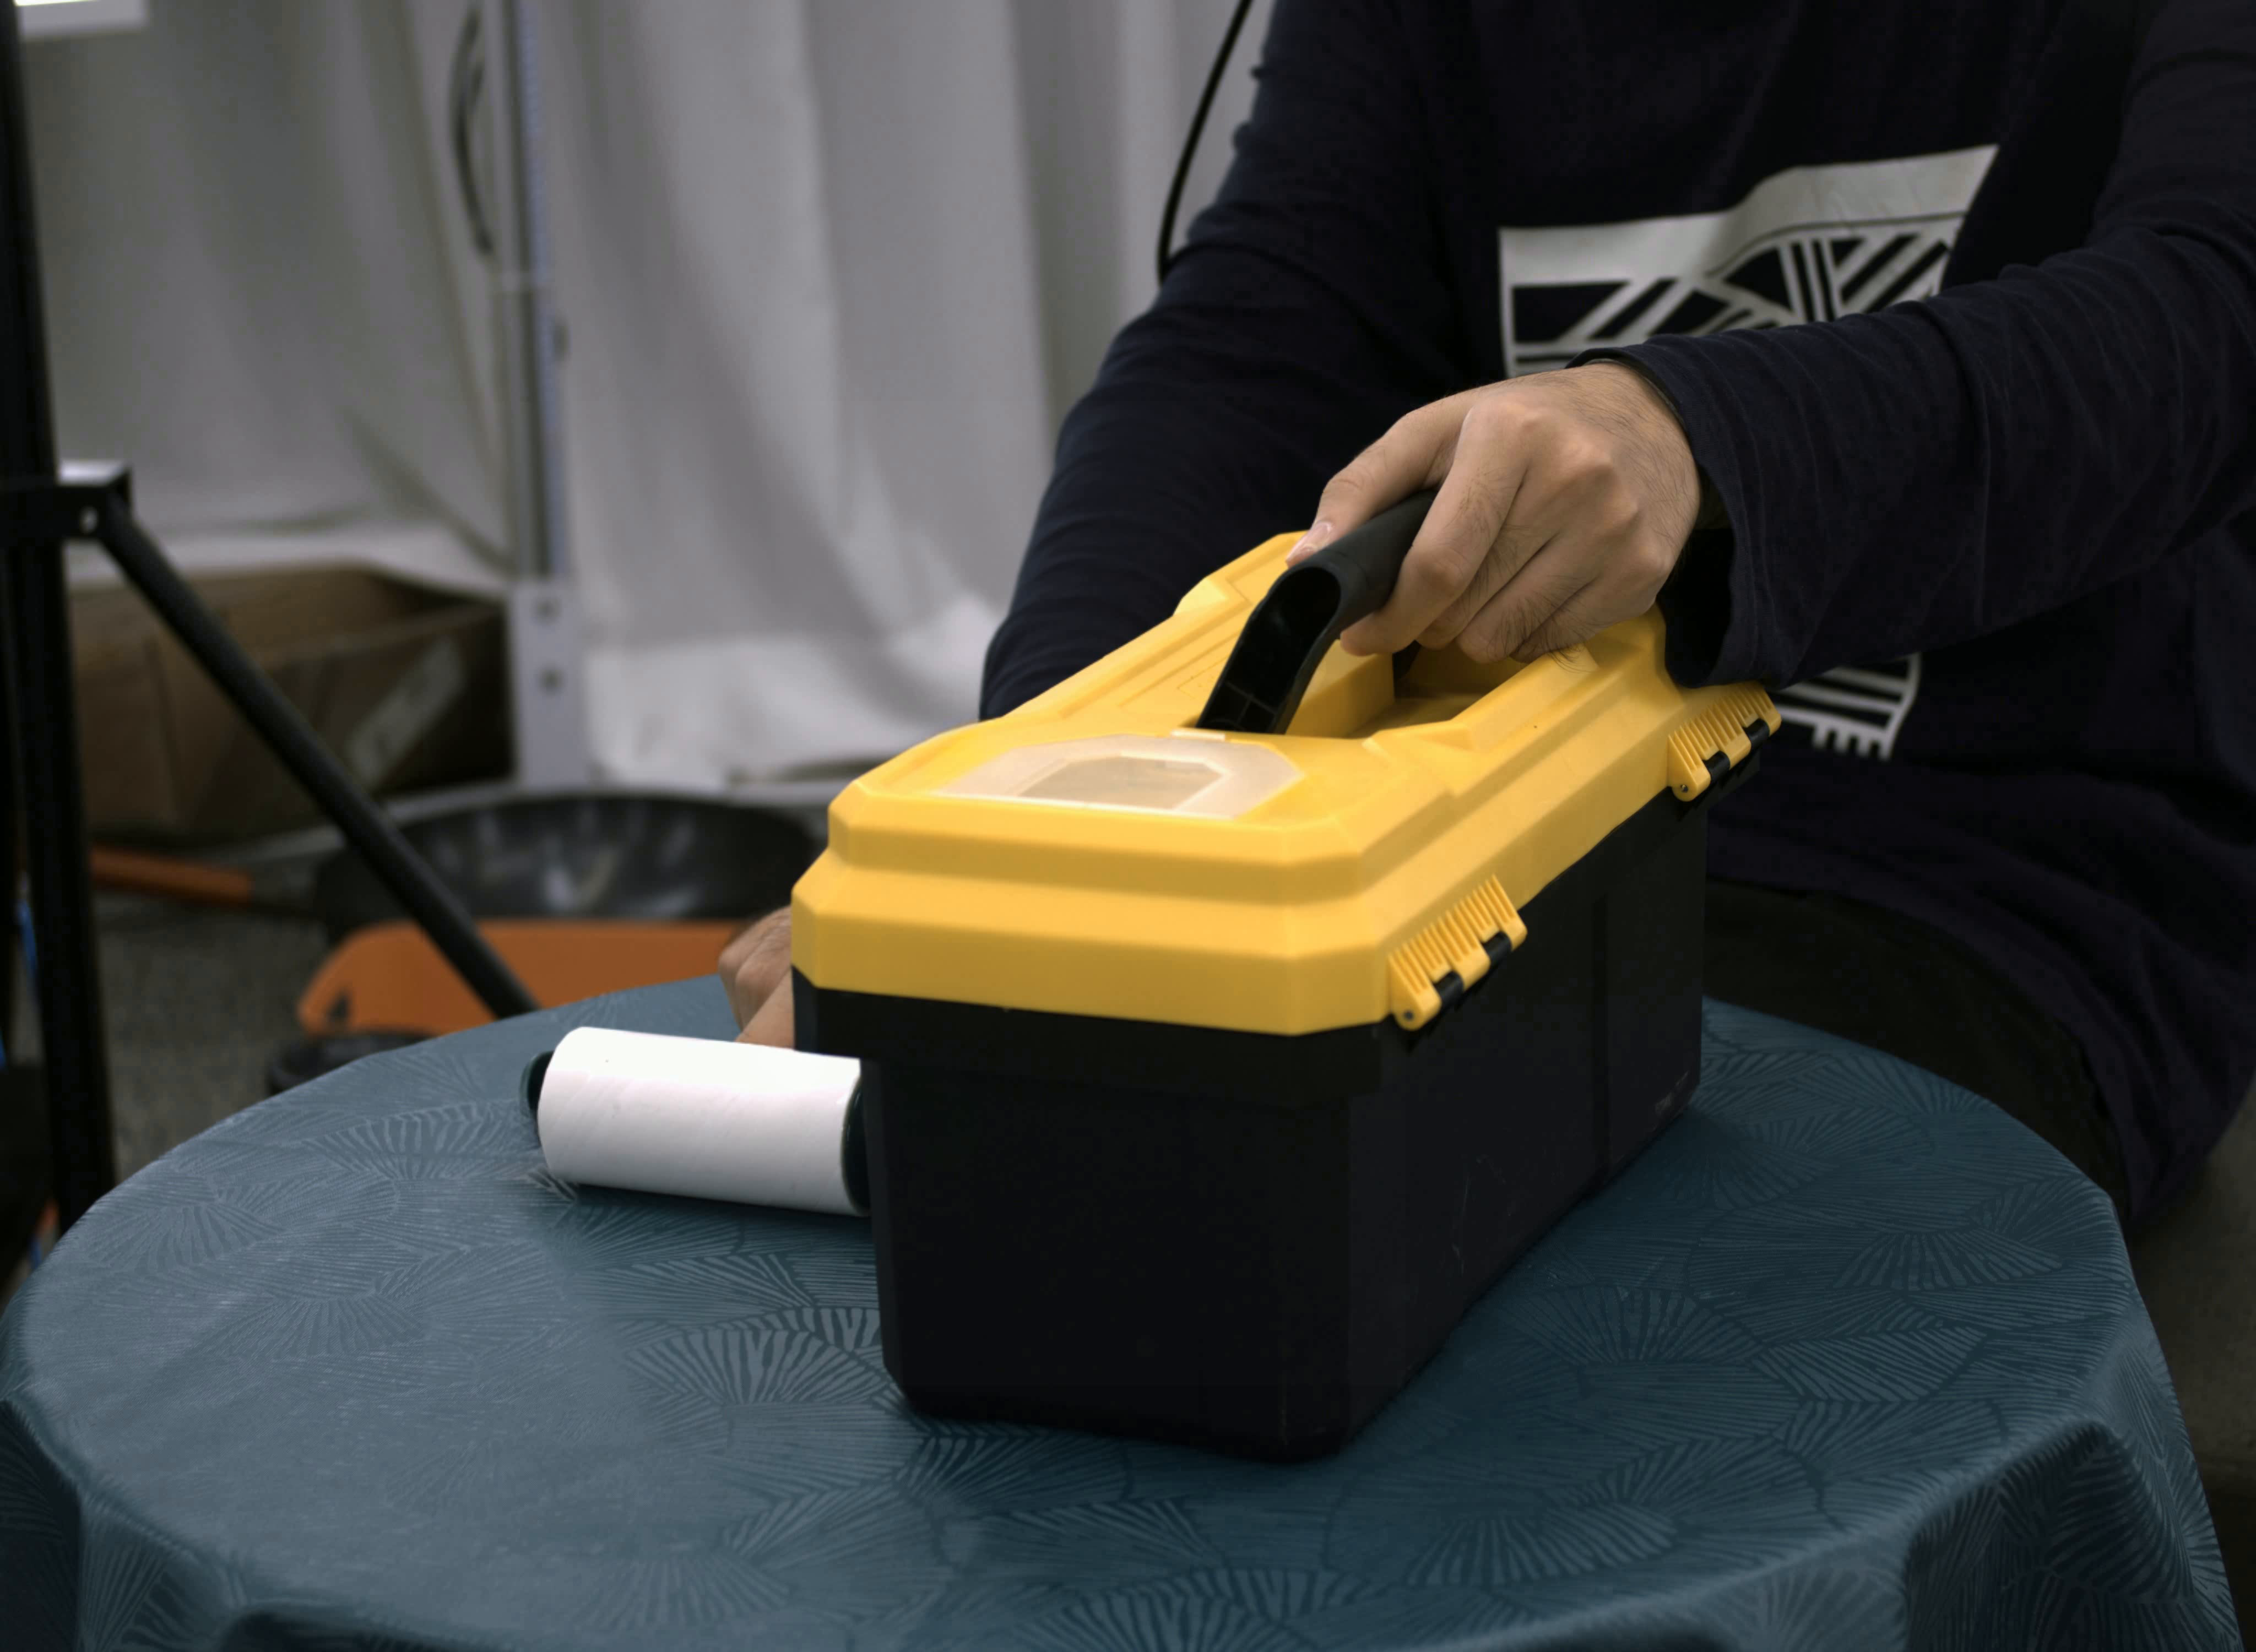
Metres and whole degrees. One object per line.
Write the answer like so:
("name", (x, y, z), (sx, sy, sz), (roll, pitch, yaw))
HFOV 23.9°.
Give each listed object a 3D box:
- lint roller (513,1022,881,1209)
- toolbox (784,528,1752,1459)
("lint roller", (-0.095, 0.068, 1.628), (0.136, 0.048, 0.177), (4, 17, 23))
("toolbox", (0.049, 0.037, 1.490), (0.184, 0.173, 0.346), (5, 17, 23))
